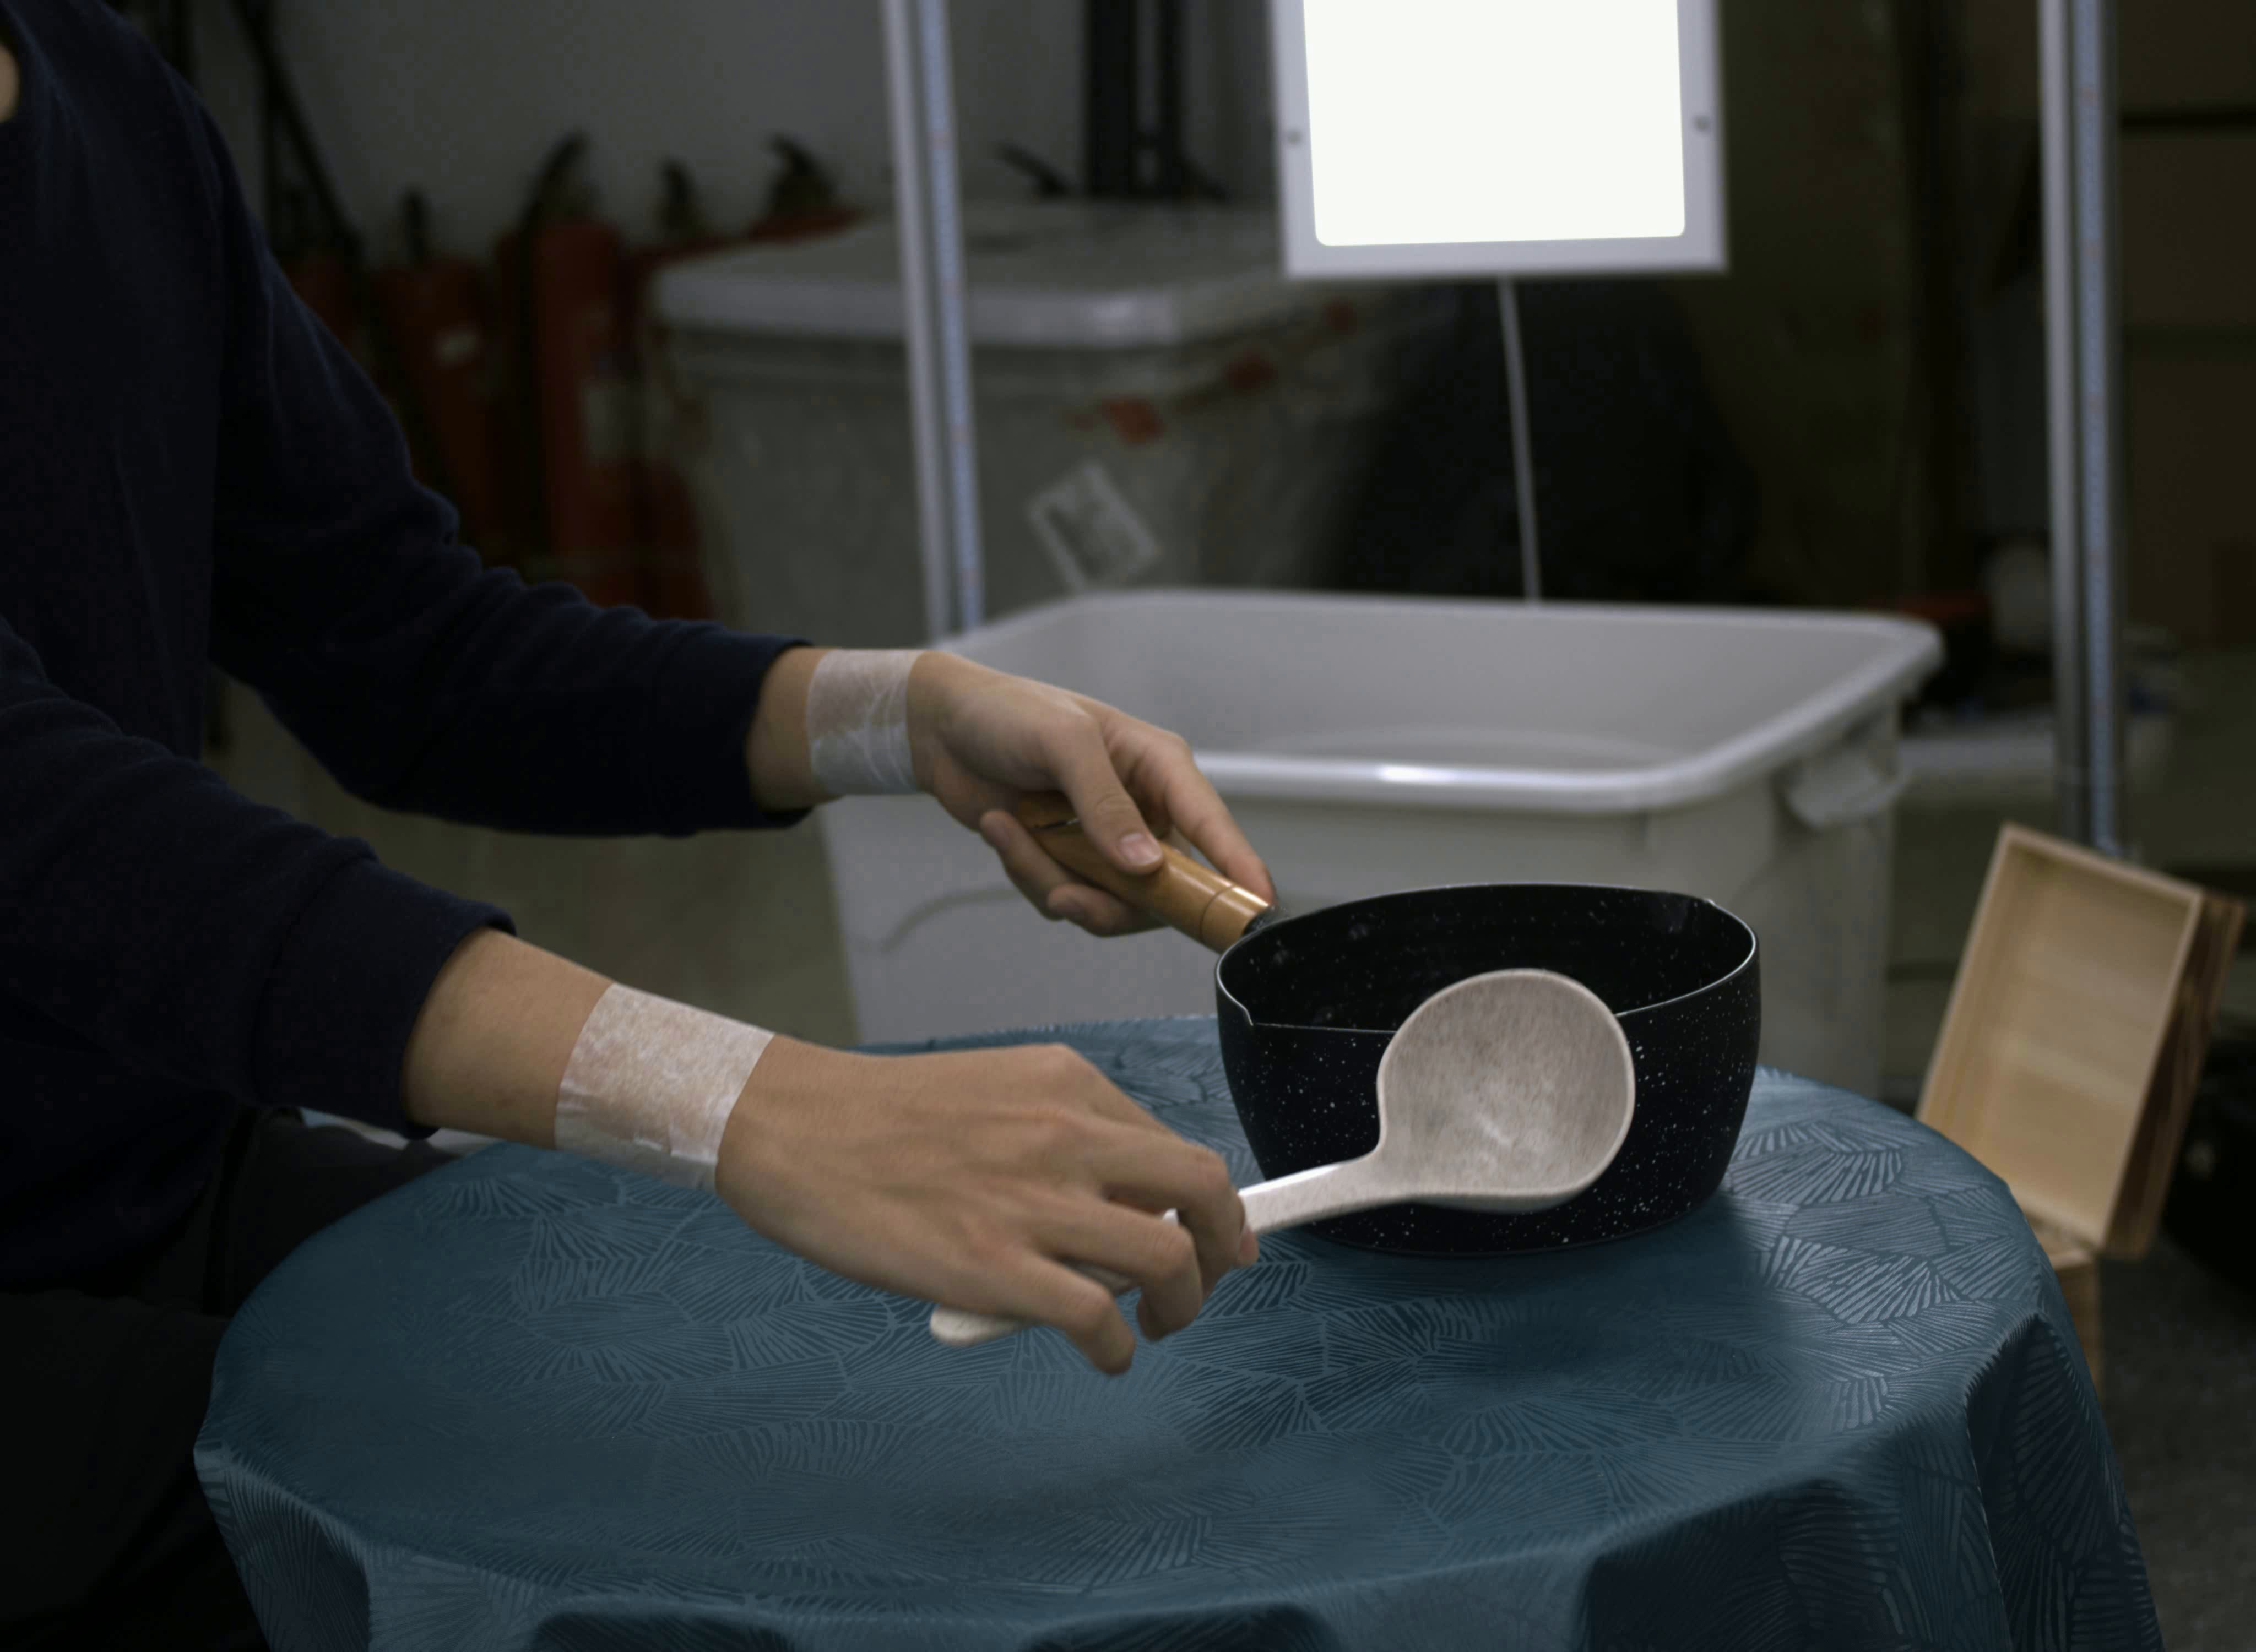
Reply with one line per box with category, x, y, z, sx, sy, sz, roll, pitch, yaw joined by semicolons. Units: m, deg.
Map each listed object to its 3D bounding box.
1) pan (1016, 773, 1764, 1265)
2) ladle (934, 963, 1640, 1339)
pan;0.073;0.060;1.913;0.202;0.108;0.350;-17;19;-36
ladle;0.048;0.095;1.638;0.268;0.070;0.090;-11;40;-46
